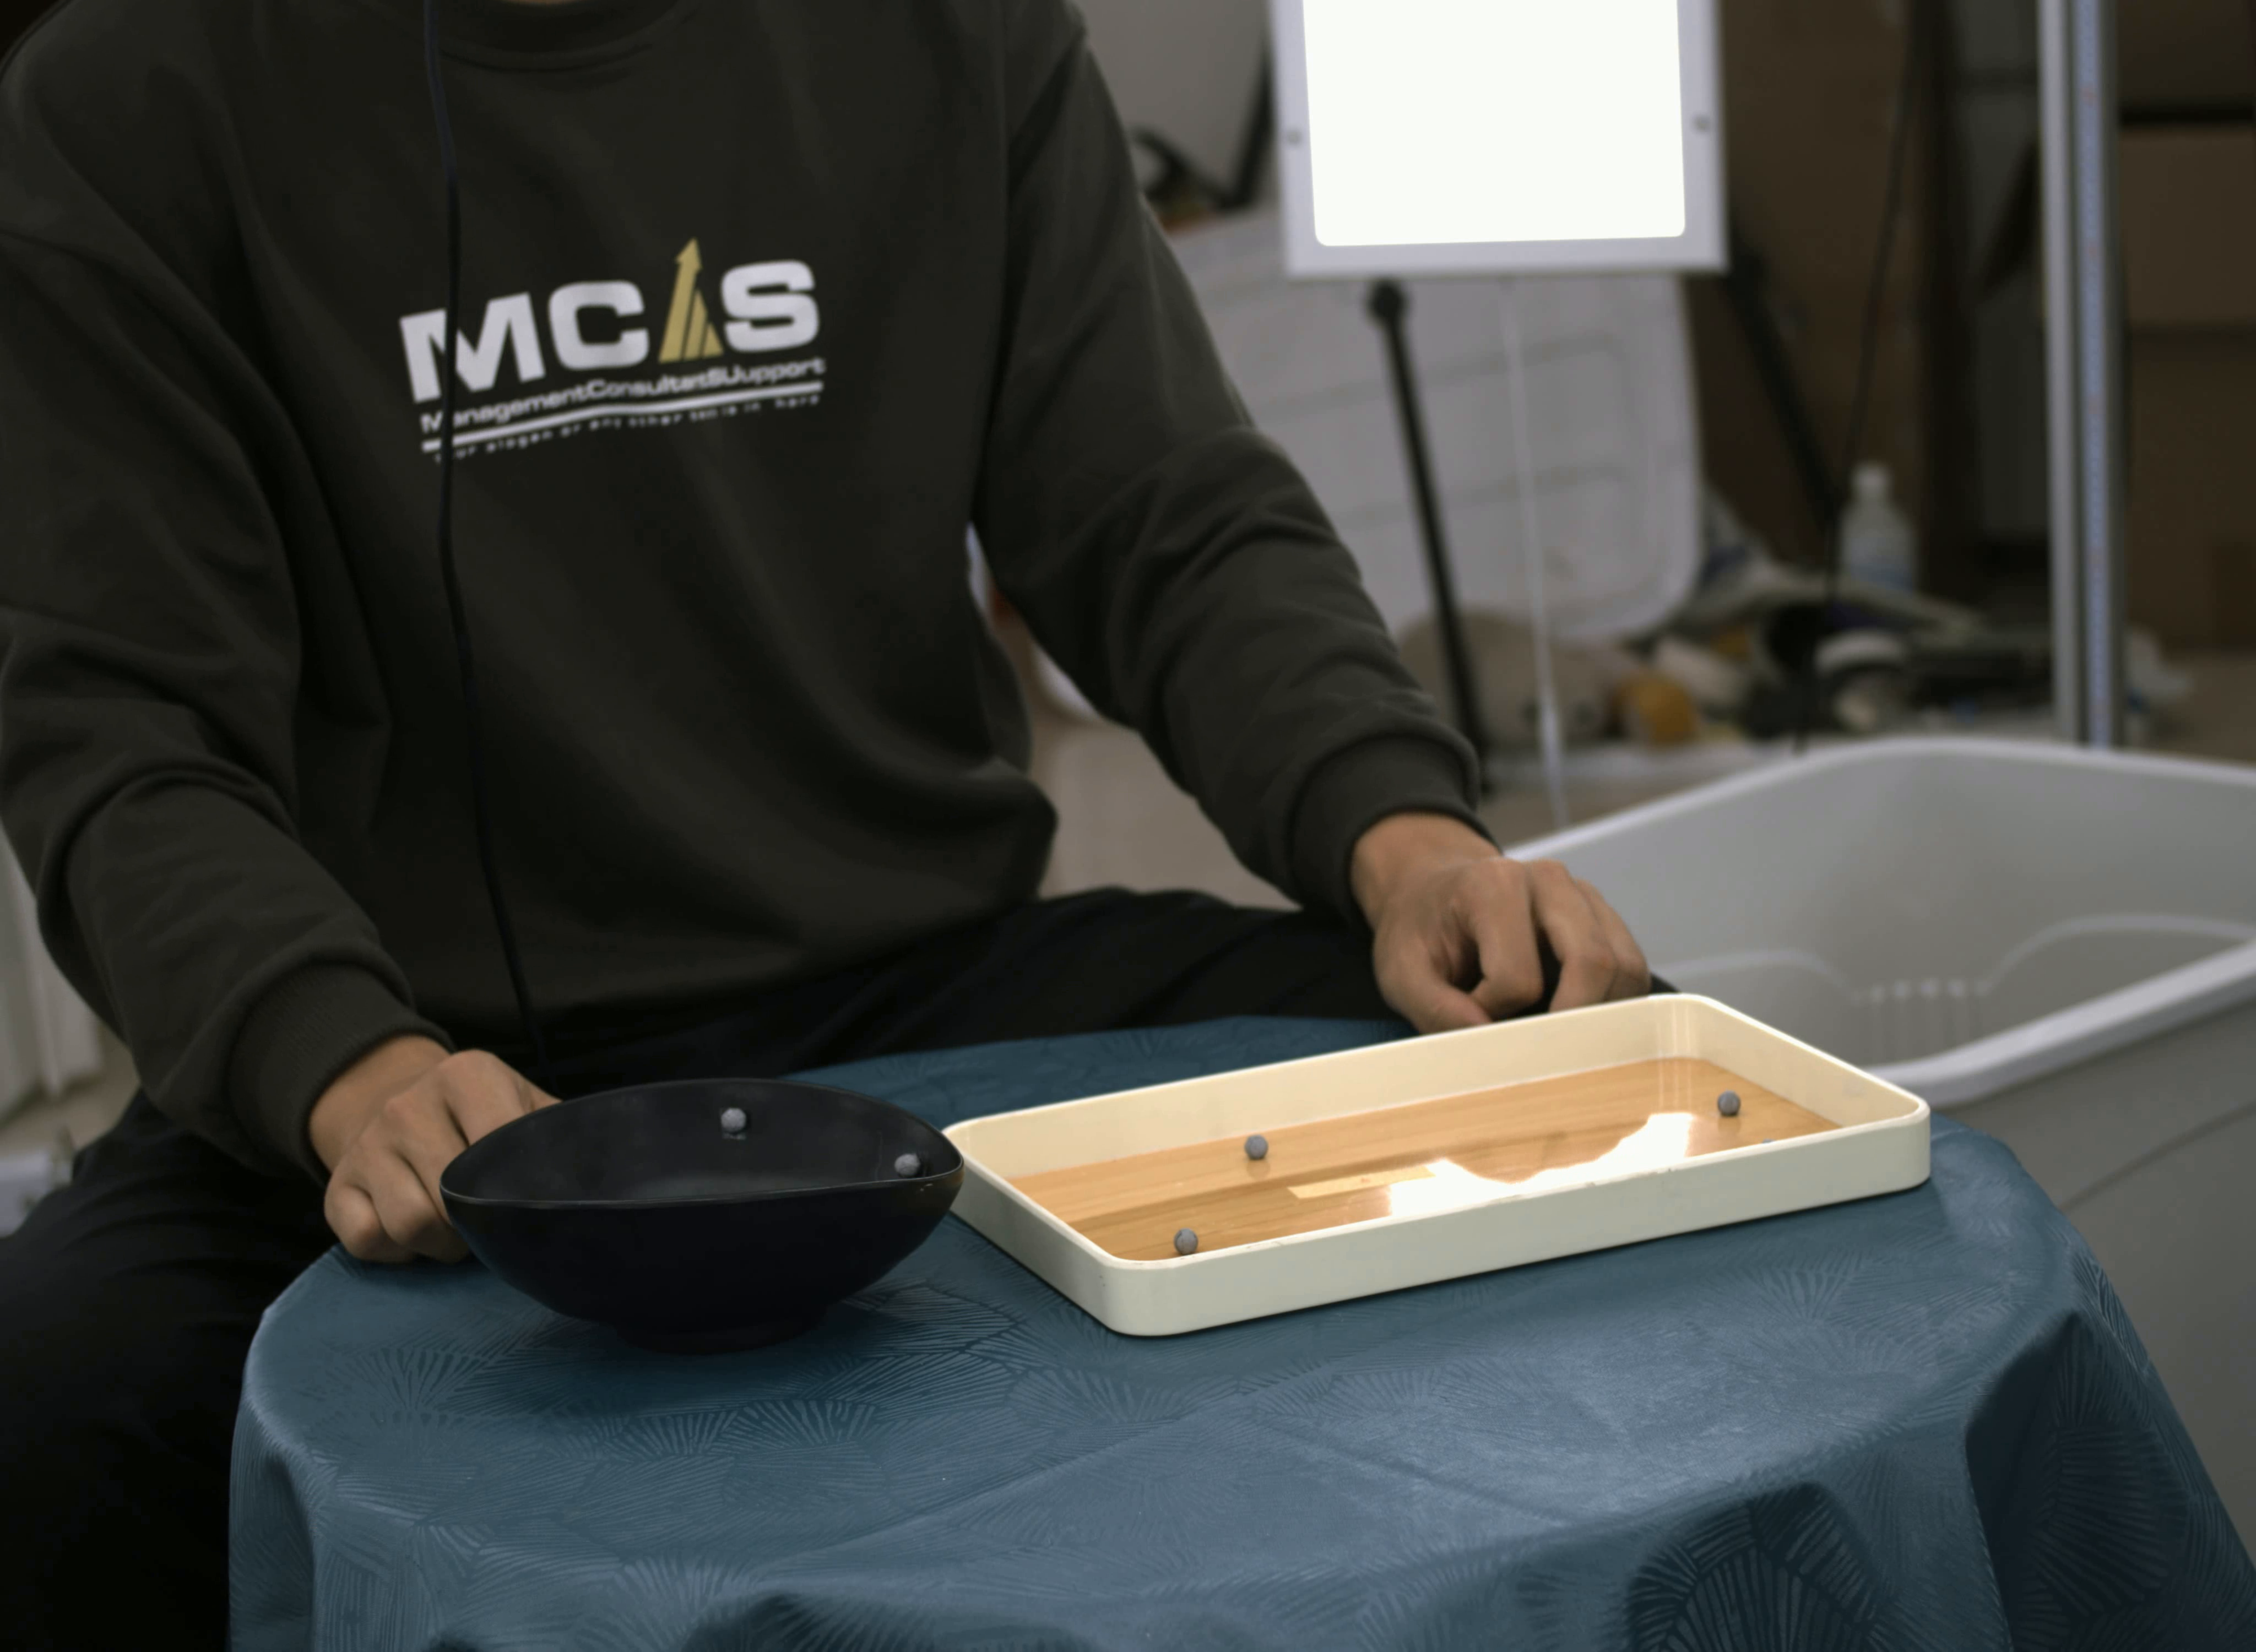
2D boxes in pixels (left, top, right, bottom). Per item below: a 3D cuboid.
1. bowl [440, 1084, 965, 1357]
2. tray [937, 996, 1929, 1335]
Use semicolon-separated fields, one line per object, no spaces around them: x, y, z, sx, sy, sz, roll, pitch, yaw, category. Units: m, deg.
-0.137;0.132;1.795;0.170;0.067;0.137;-3;14;0;bowl
0.103;0.112;1.866;0.295;0.027;0.194;-10;14;-18;tray
